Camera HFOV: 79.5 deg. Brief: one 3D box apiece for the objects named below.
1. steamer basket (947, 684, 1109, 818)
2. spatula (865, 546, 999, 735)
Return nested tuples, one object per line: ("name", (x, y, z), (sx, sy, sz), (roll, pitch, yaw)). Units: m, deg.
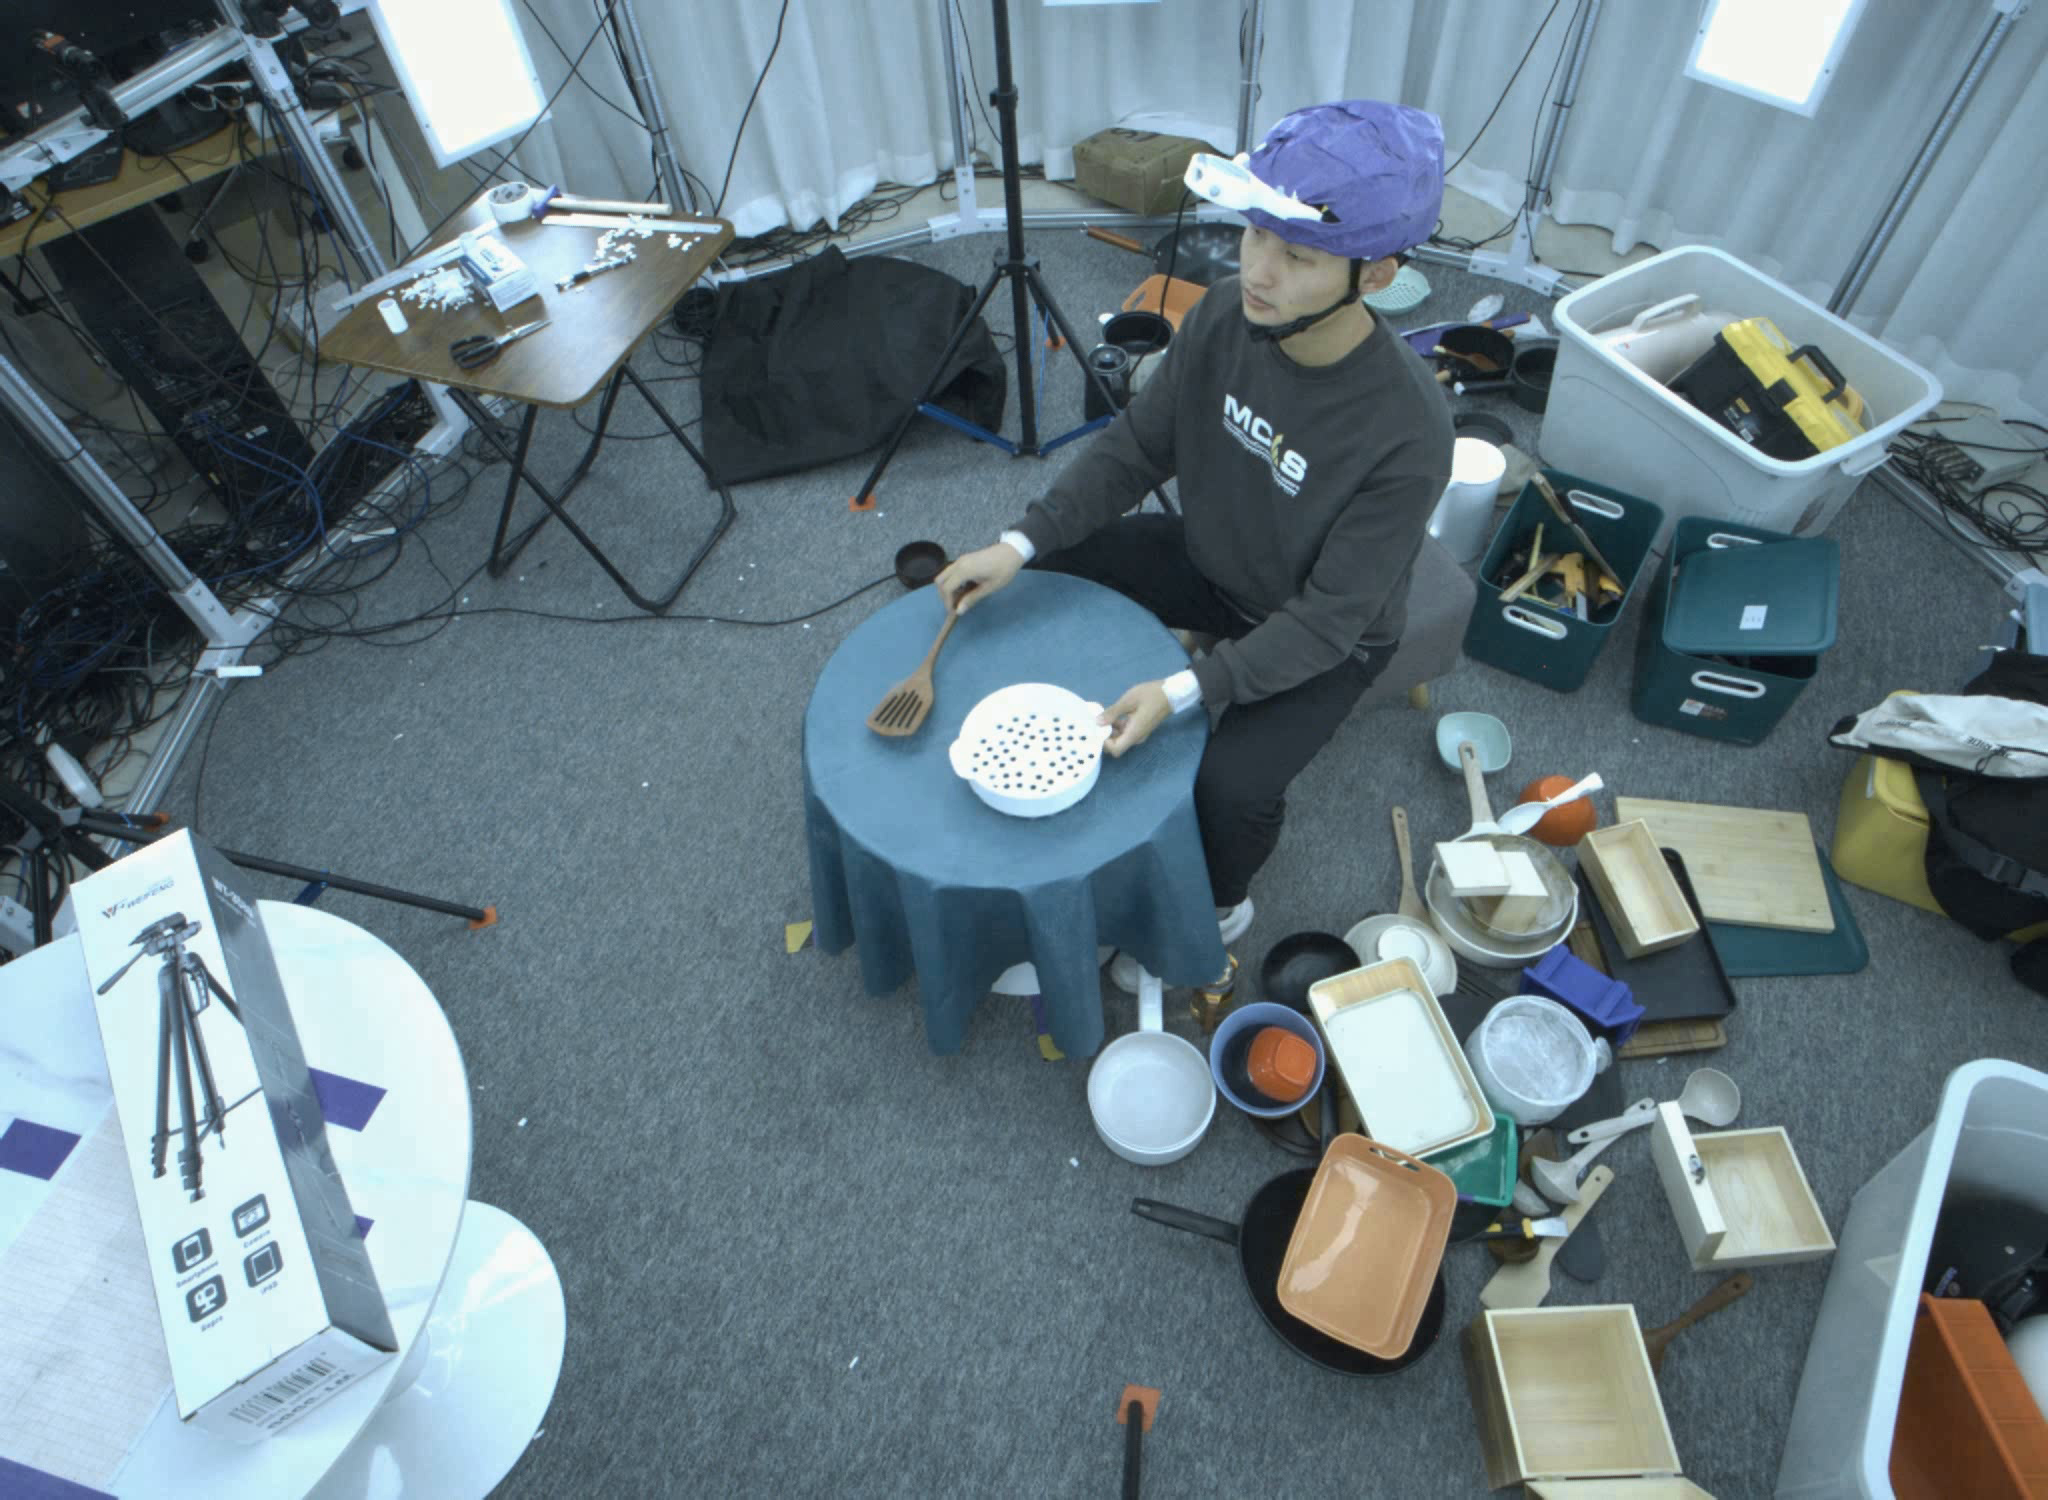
("steamer basket", (0.006, 0.004, 1.752), (0.232, 0.070, 0.198), (-15, 57, -12))
("spatula", (-0.125, -0.174, 1.880), (0.084, 0.024, 0.385), (14, 60, 22))
